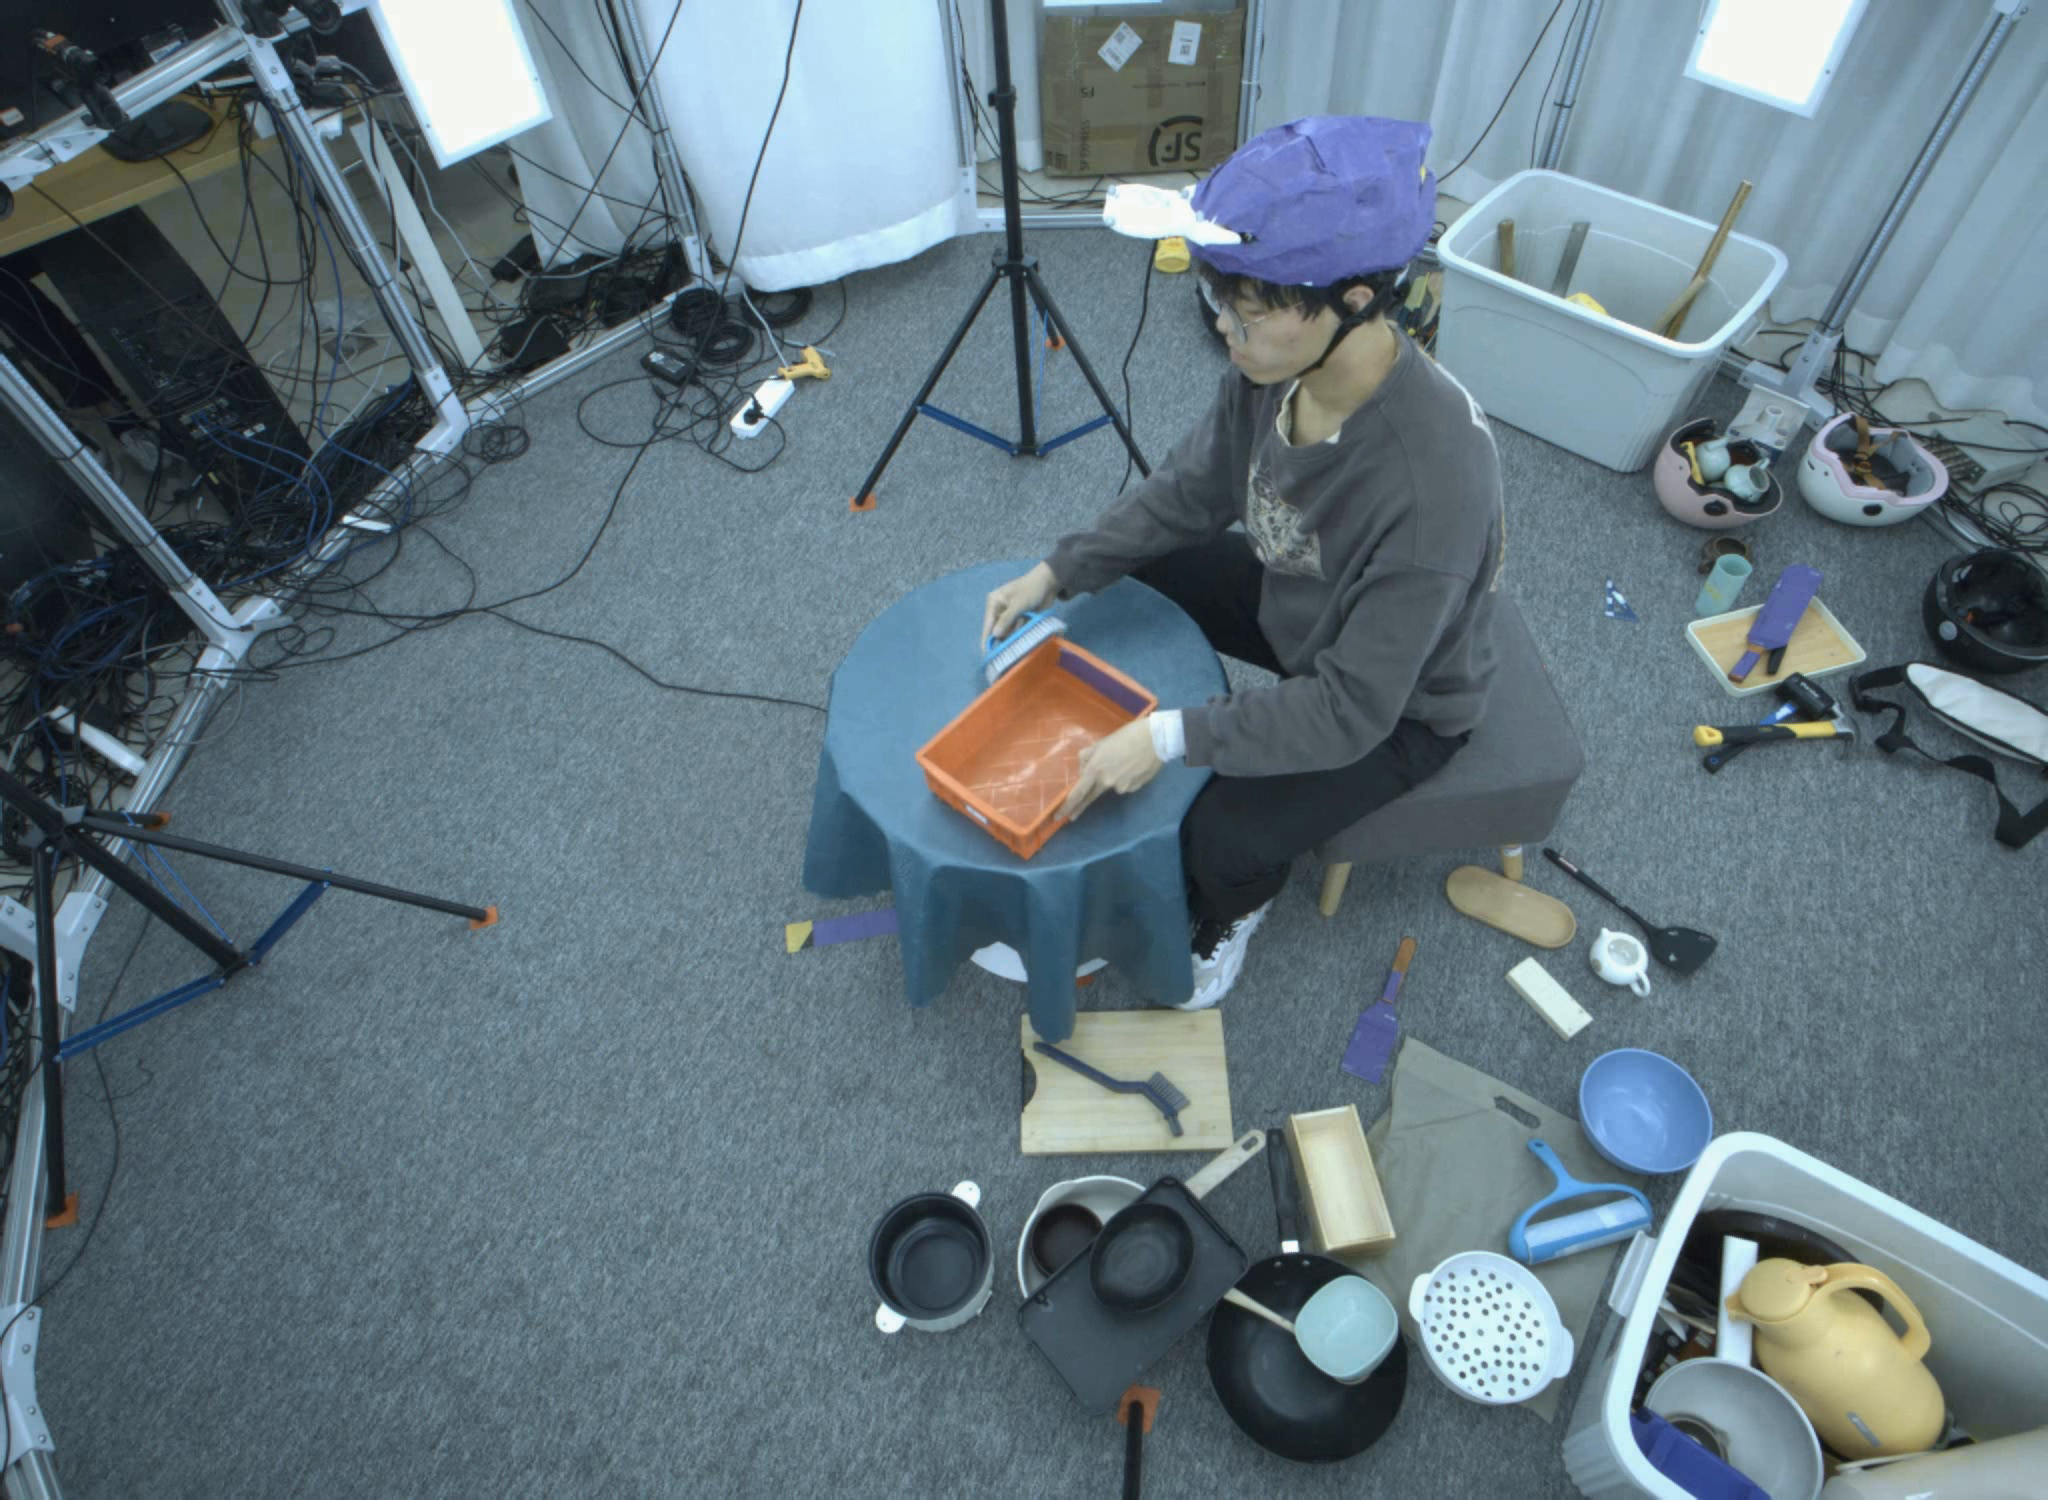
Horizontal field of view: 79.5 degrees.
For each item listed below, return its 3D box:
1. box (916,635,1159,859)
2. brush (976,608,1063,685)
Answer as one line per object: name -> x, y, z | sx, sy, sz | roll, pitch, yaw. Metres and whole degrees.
box -> 0.023, -0.006, 1.735 | 0.203, 0.097, 0.305 | 35, 63, 24
brush -> -0.014, -0.161, 1.806 | 0.141, 0.085, 0.063 | -39, 74, 3
